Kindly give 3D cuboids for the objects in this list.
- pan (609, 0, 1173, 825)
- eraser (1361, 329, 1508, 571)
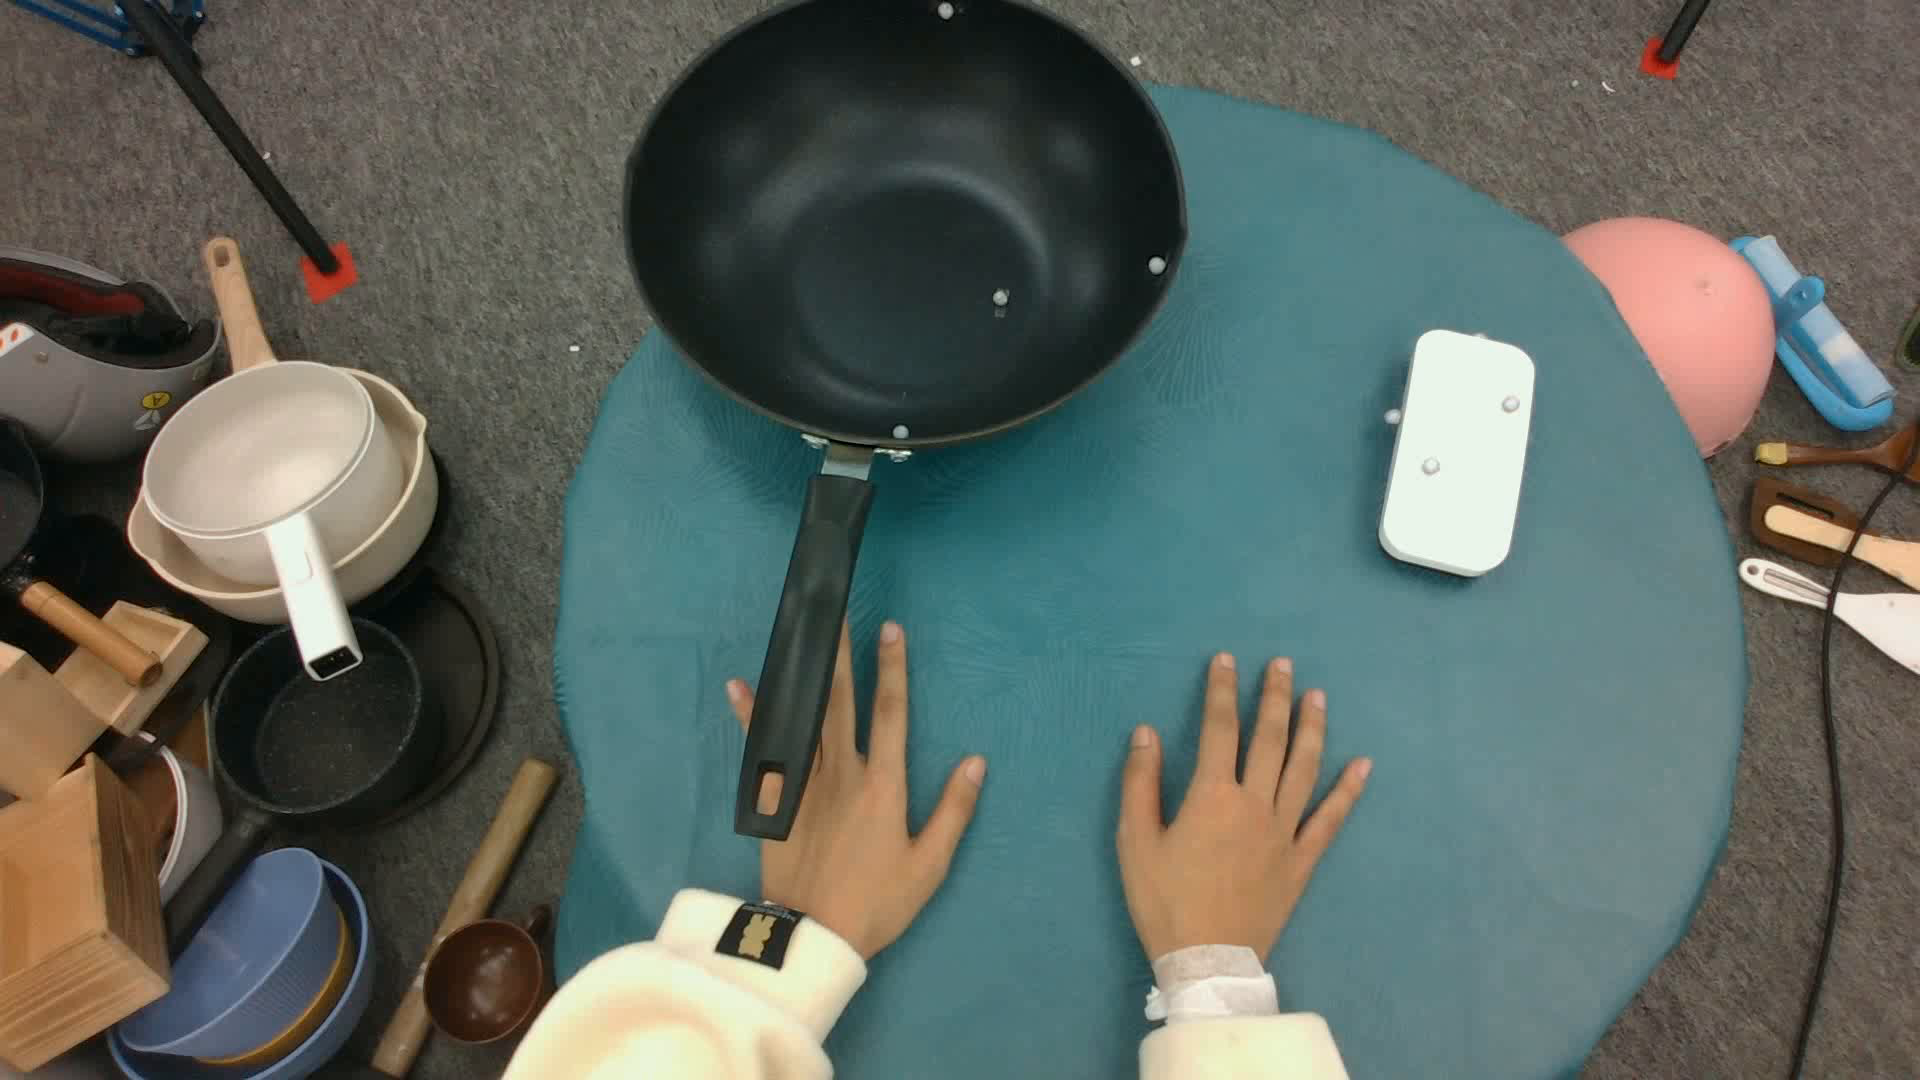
[{"bbox_3d":[-0.052,-0.080,0.695,0.288,0.086,0.465,9,69,4],"label":"pan"},{"bbox_3d":[0.245,-0.049,0.714,0.063,0.034,0.132,13,67,8],"label":"eraser"}]
